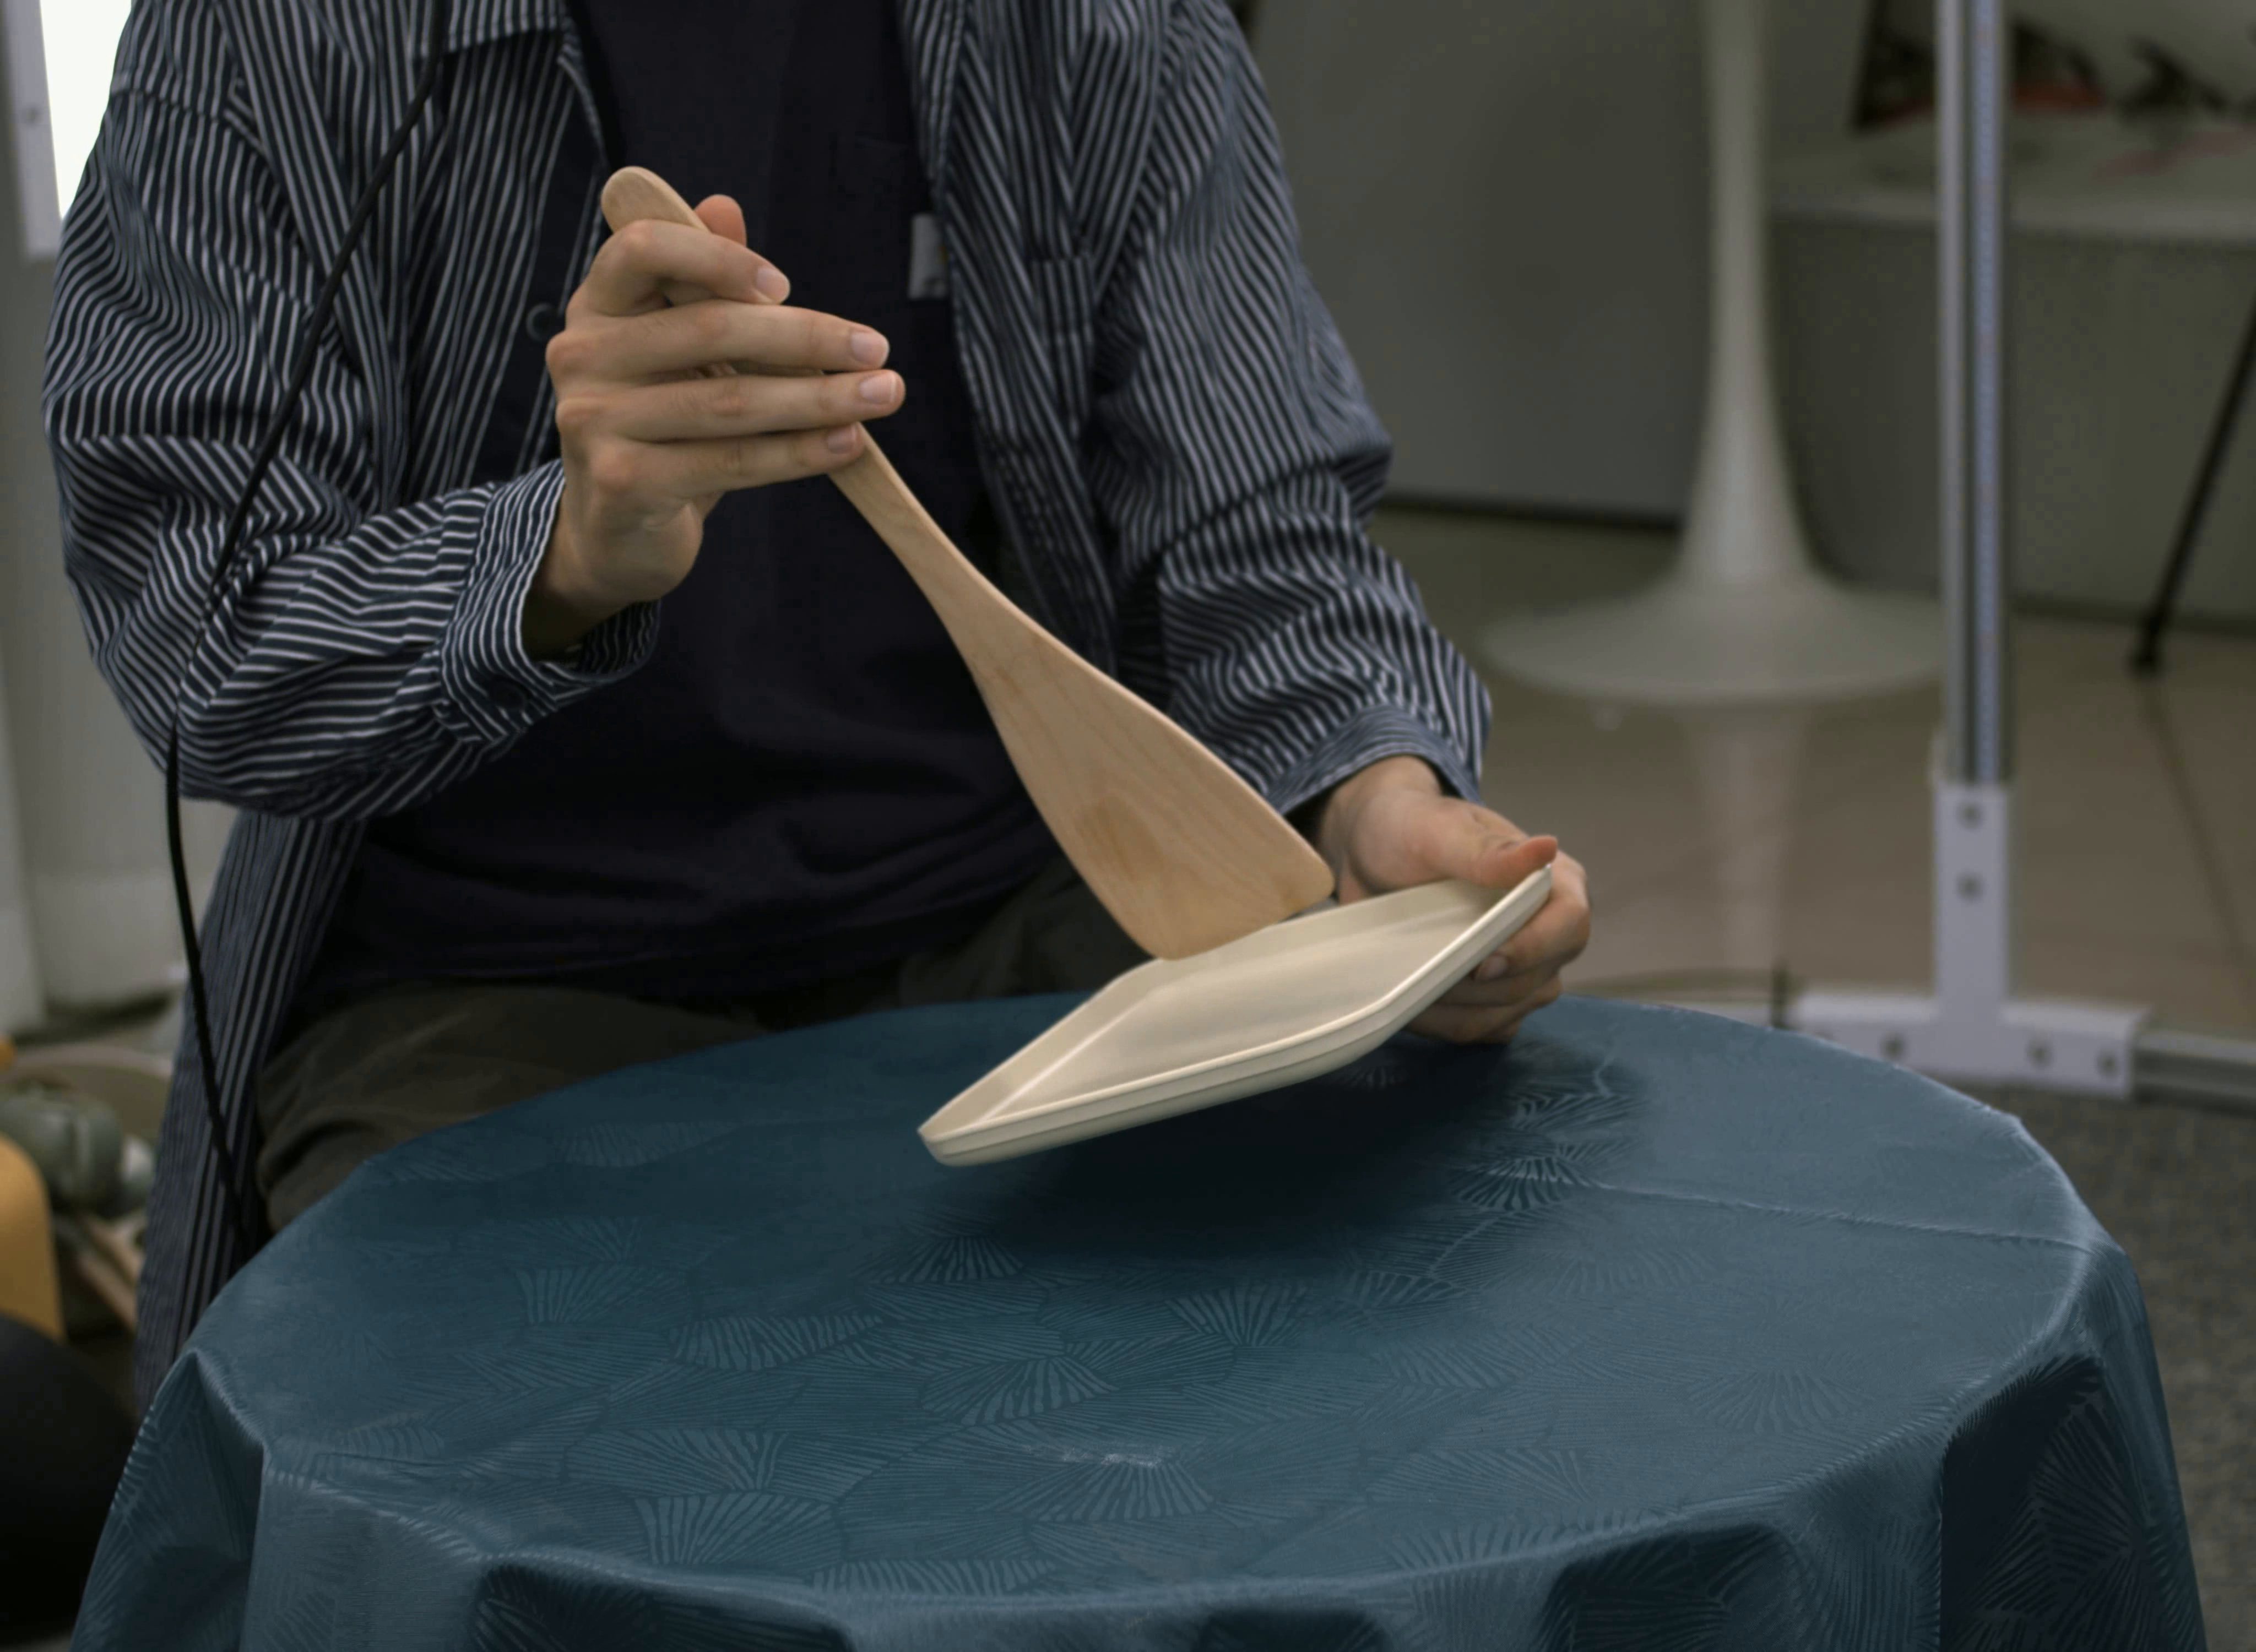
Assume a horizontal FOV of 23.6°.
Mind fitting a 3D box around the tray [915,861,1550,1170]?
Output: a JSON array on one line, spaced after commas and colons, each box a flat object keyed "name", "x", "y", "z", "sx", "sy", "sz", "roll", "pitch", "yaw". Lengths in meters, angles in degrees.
[{"name": "tray", "x": 0.040, "y": 0.063, "z": 1.778, "sx": 0.171, "sy": 0.017, "sz": 0.237, "roll": -17, "pitch": 6, "yaw": 24}]

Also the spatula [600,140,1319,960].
[{"name": "spatula", "x": -0.063, "y": -0.089, "z": 1.750, "sx": 0.080, "sy": 0.328, "sz": 0.016, "roll": -37, "pitch": 1, "yaw": 38}]
